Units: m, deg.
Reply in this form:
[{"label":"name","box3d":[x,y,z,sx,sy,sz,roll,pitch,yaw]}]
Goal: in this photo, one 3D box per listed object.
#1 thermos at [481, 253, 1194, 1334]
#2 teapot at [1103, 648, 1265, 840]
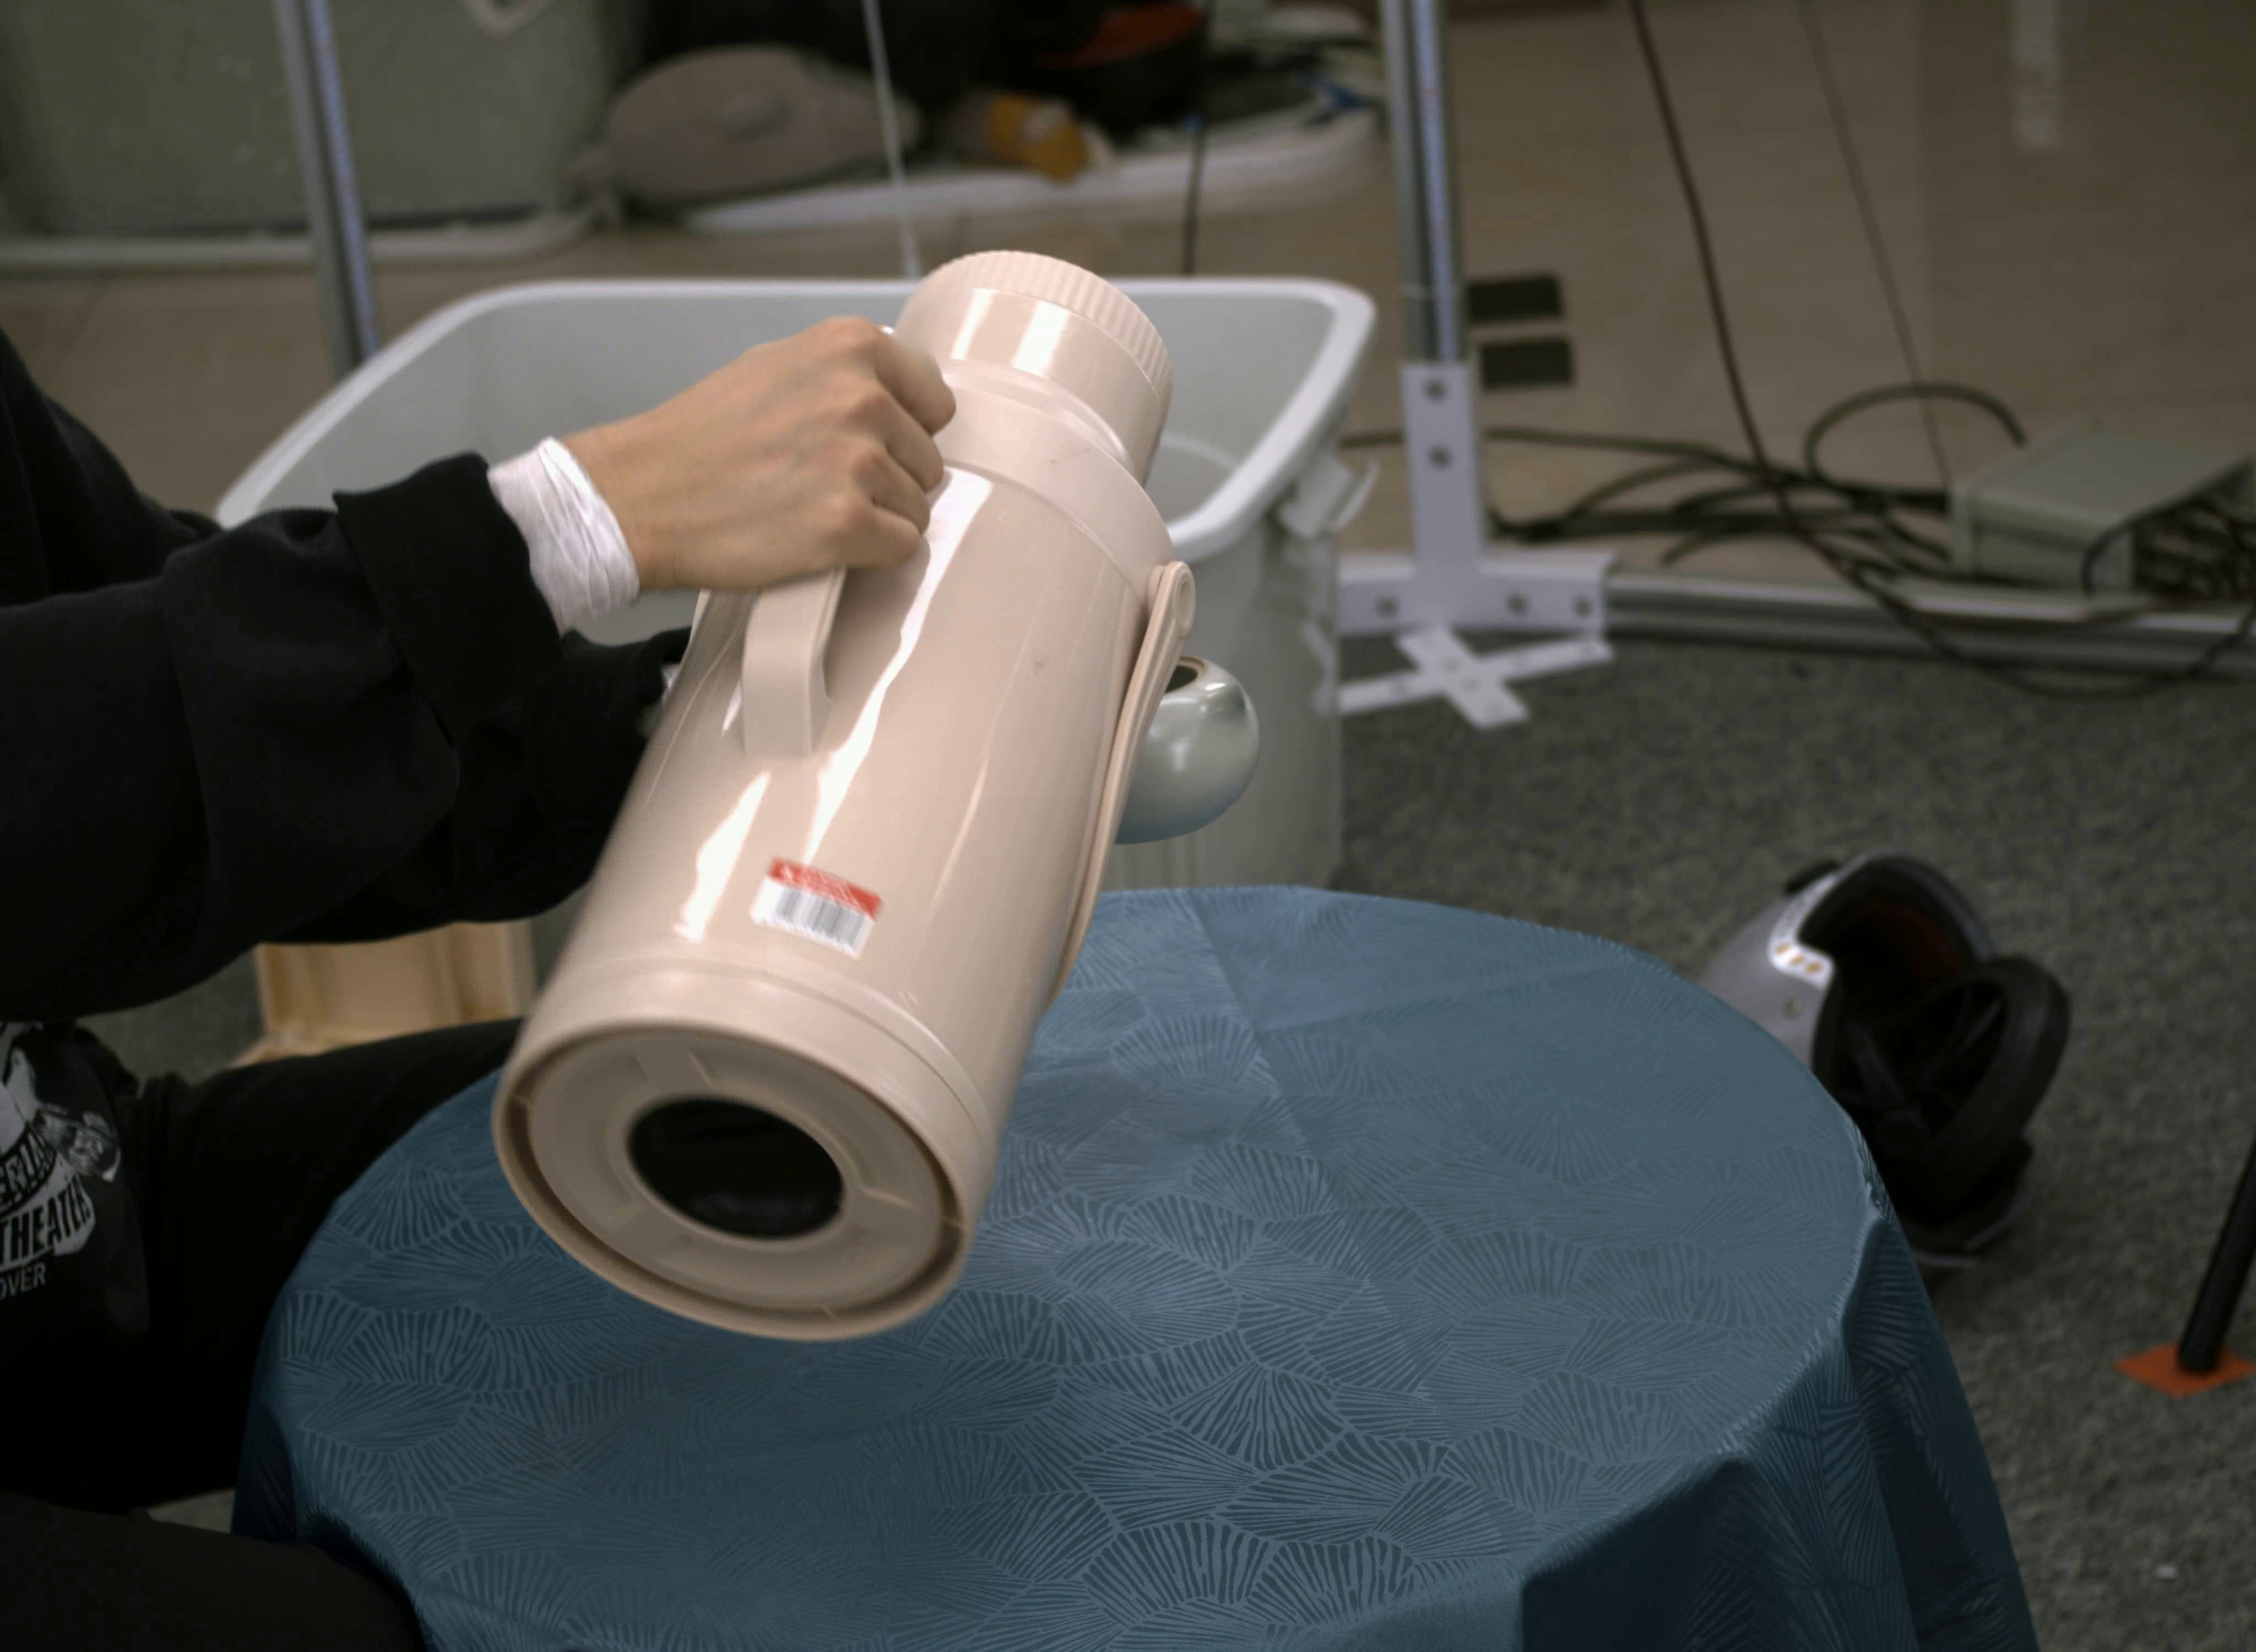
[{"label":"thermos","box3d":[-0.086,-0.038,1.927,0.175,0.211,0.399,5,48,18]},{"label":"teapot","box3d":[-0.001,-0.032,2.167,0.127,0.060,0.091,3,26,34]}]
